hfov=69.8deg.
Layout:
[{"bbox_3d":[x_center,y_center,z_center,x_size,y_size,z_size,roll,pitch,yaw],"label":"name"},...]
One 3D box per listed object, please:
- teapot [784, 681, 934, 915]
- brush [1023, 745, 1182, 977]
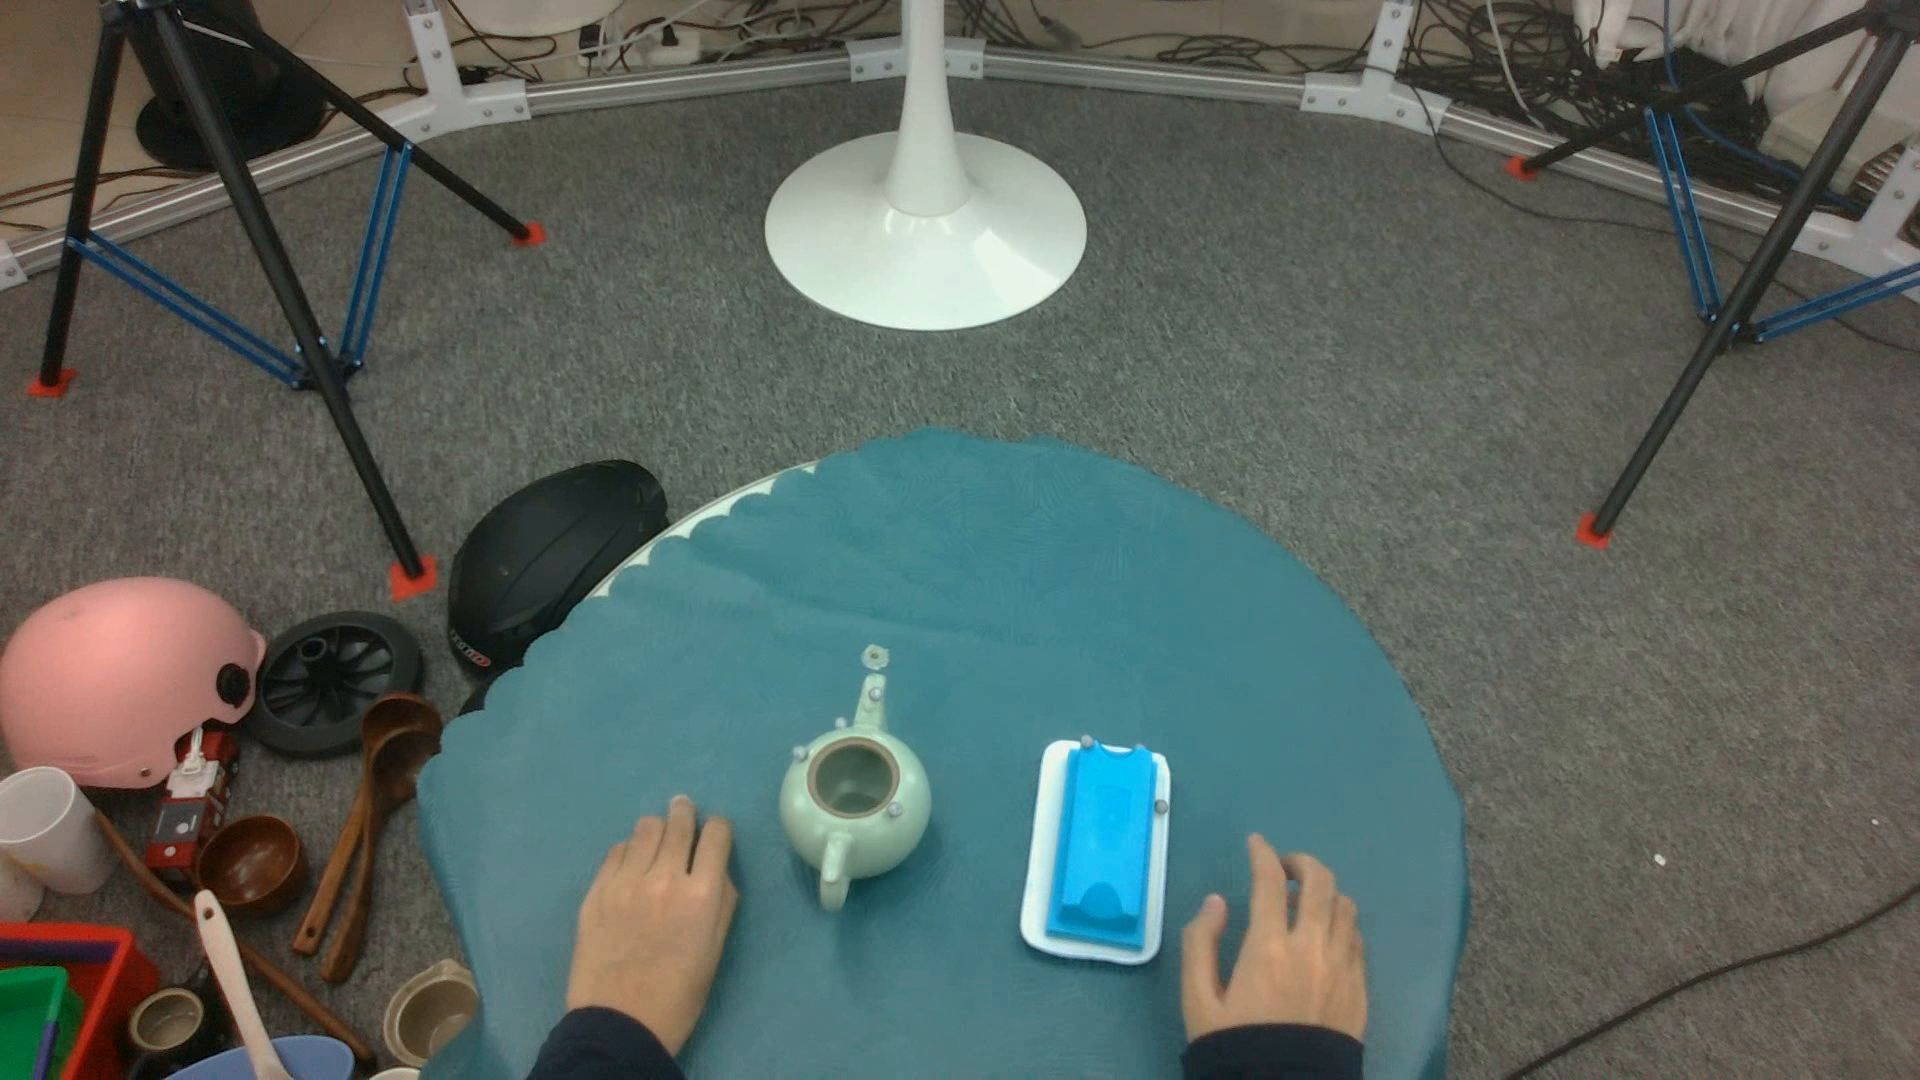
[{"bbox_3d":[-0.059,0.158,0.811,0.088,0.074,0.144,9,47,6],"label":"teapot"},{"bbox_3d":[0.086,0.179,0.805,0.084,0.055,0.144,7,47,8],"label":"brush"}]
